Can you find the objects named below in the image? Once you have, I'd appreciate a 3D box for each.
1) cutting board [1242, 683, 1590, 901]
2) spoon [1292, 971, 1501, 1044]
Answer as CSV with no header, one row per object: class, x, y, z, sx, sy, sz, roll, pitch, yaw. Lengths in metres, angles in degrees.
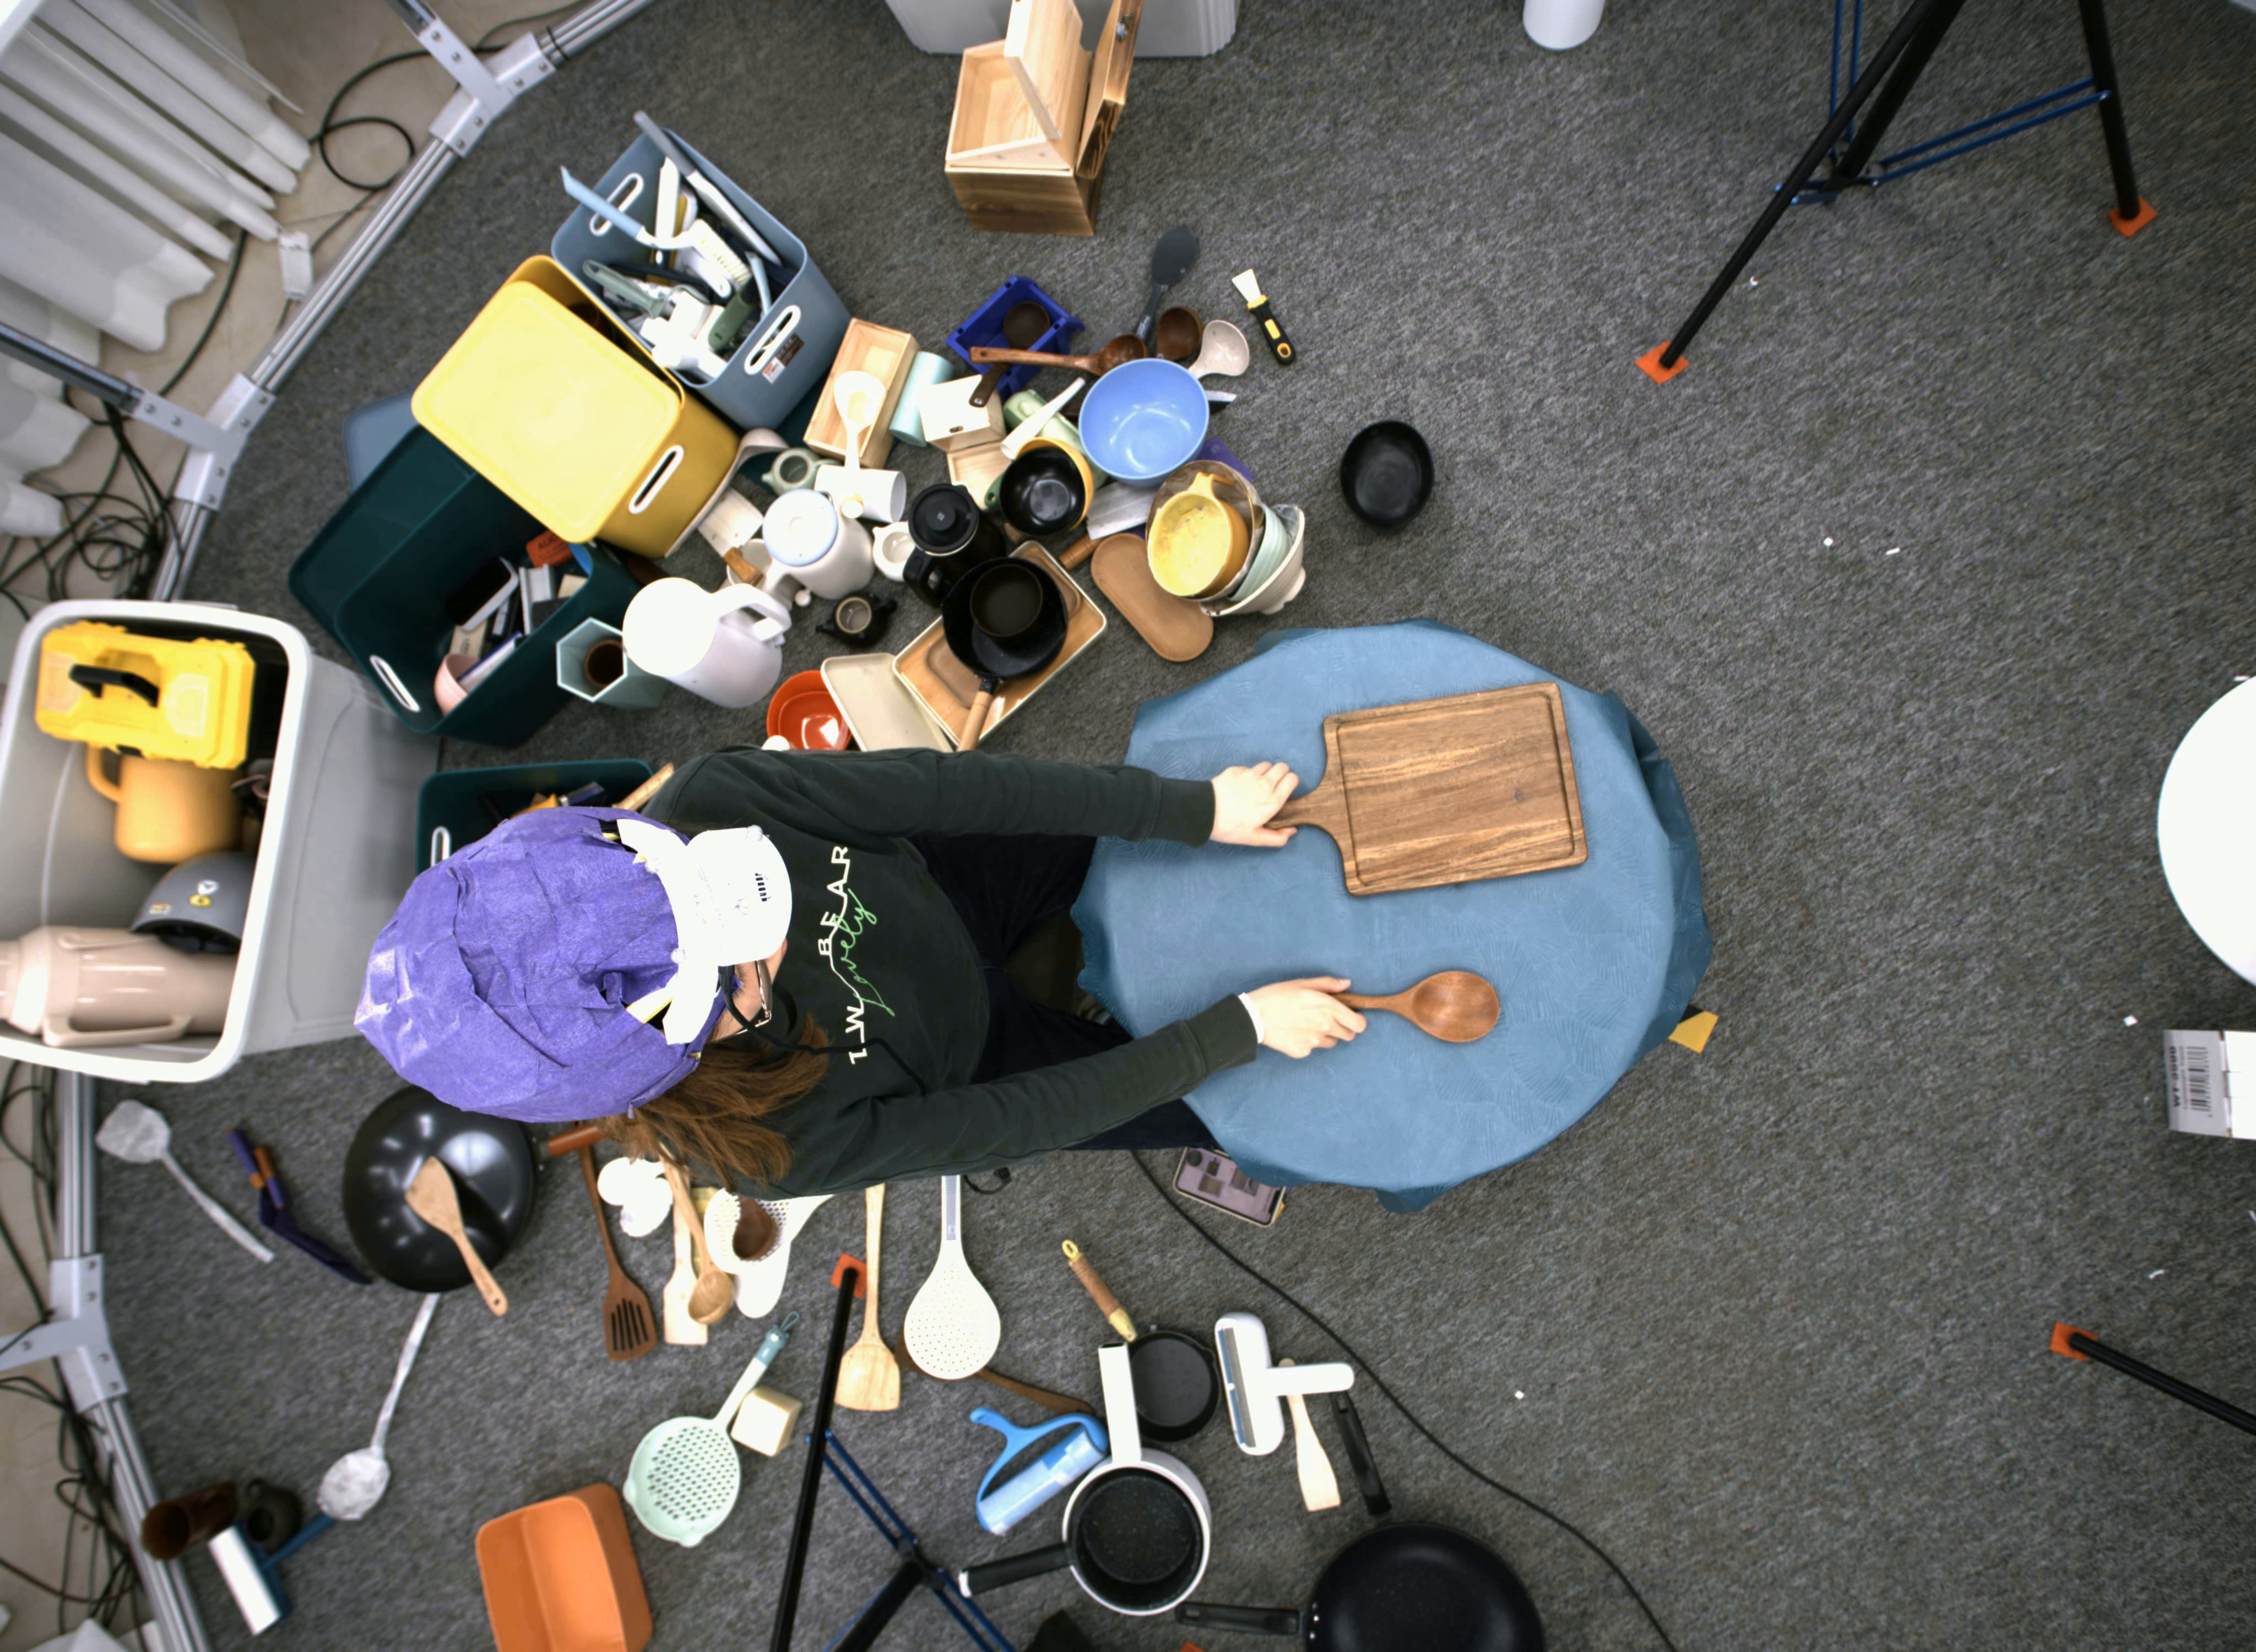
cutting board,0.295,-0.030,1.458,0.354,0.023,0.200,-9,85,10
spoon,0.279,0.186,1.446,0.216,0.017,0.075,1,88,10
